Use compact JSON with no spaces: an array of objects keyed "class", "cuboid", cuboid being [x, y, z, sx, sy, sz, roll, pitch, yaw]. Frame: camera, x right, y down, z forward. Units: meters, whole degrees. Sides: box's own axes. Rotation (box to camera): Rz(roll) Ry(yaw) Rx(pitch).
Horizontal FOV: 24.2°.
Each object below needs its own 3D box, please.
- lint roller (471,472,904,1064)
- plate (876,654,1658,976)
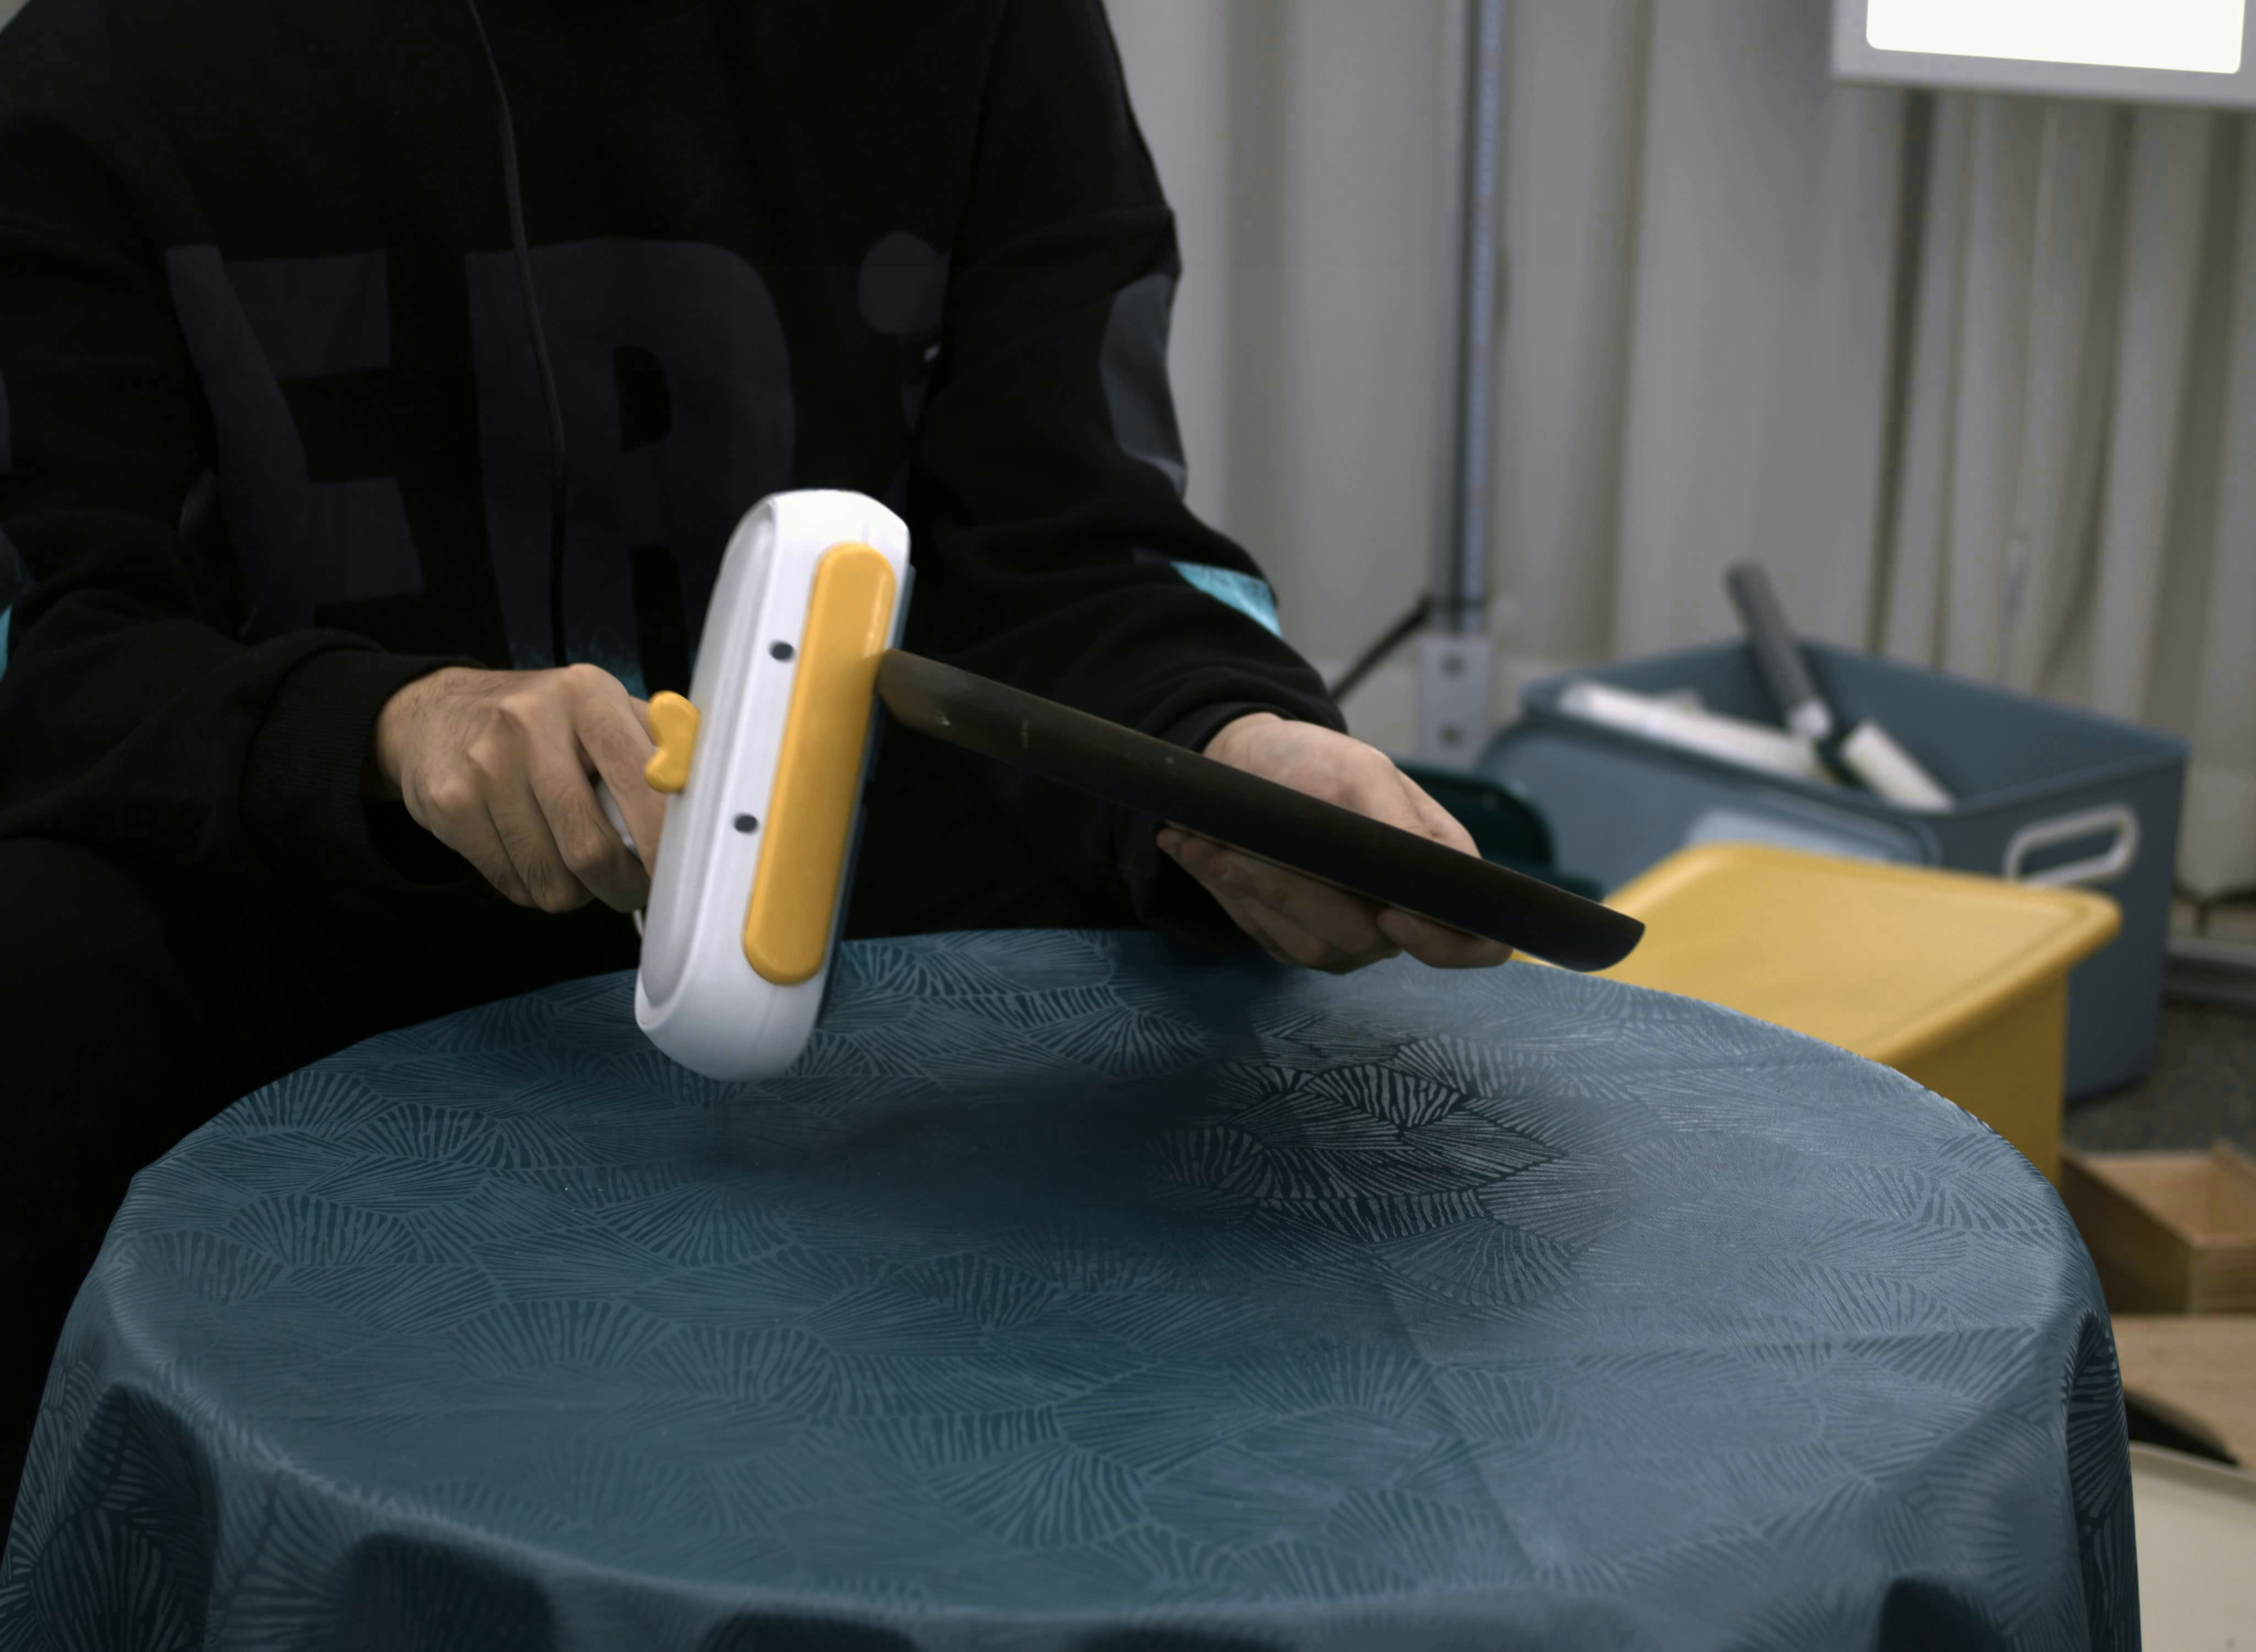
[{"class":"lint roller","cuboid":[-0.146,-0.008,1.705,0.075,0.192,0.191,15,-21,-30]},{"class":"plate","cuboid":[0.040,-0.003,1.635,0.254,0.029,0.255,19,-1,1]}]
